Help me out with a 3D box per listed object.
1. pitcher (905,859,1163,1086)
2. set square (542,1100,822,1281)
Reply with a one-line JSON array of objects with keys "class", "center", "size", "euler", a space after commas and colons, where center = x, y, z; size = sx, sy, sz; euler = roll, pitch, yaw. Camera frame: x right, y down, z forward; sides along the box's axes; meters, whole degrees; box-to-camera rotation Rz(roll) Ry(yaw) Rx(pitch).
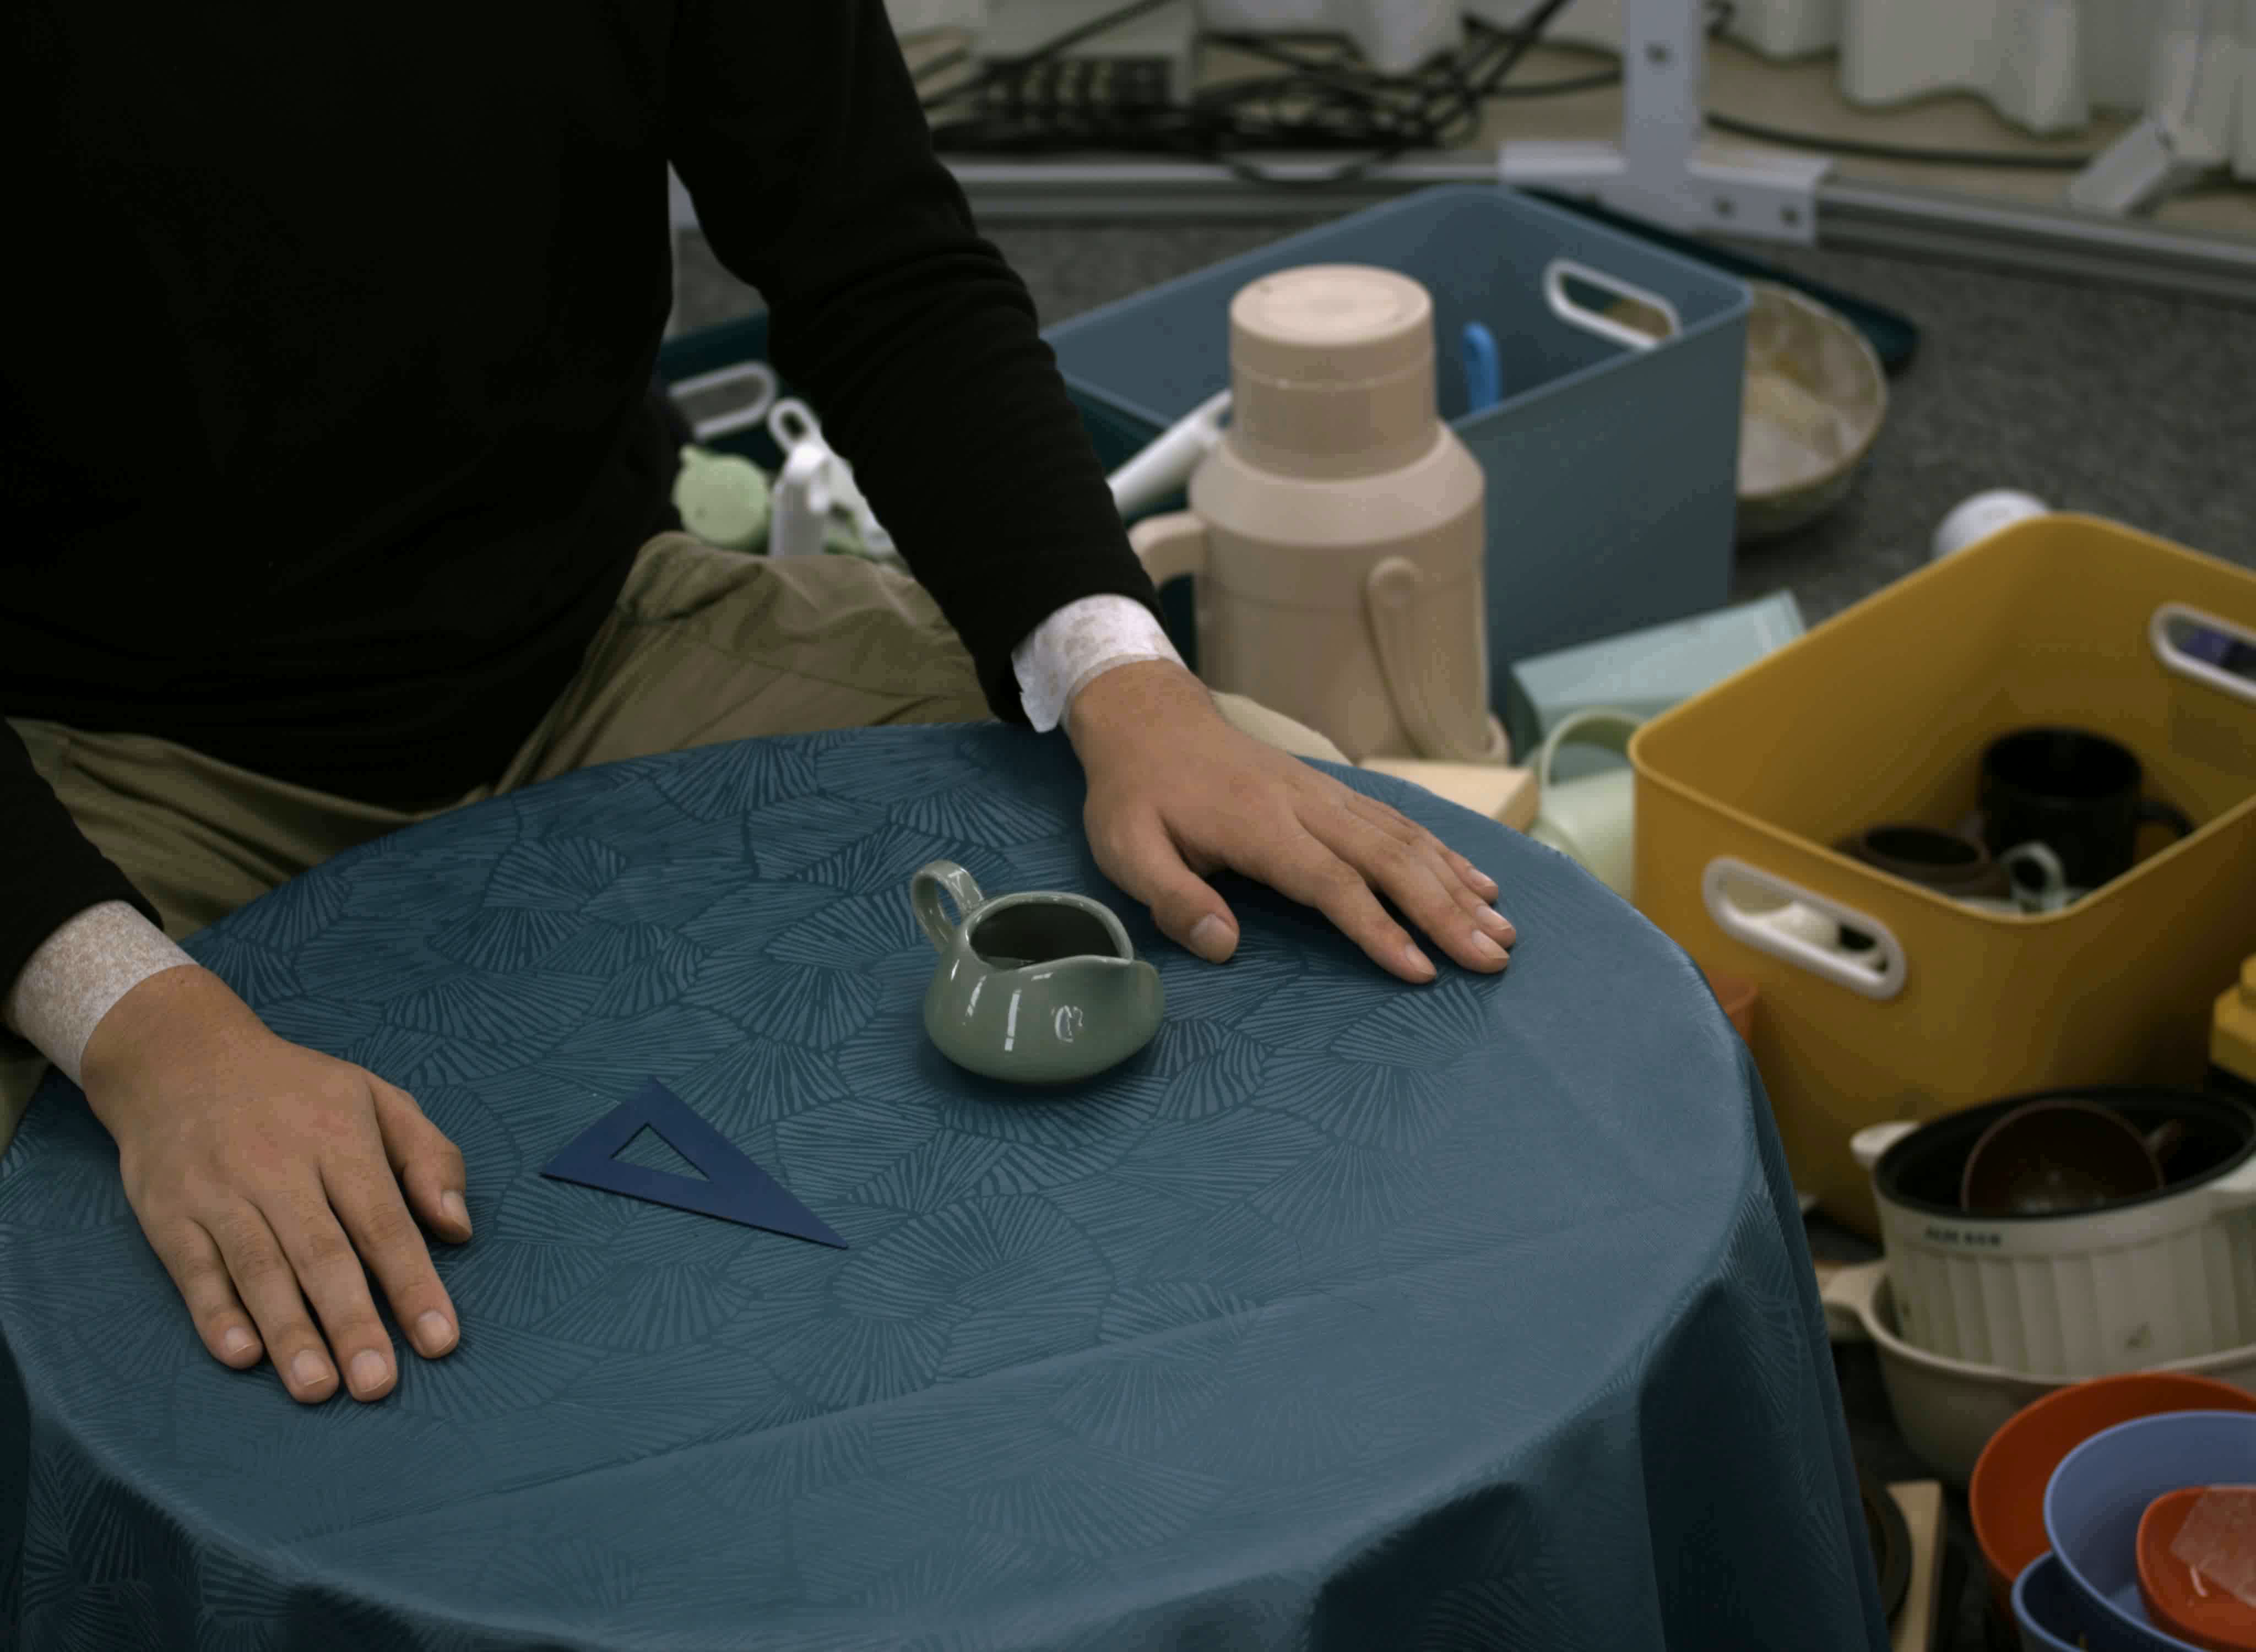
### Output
[{"class": "pitcher", "center": [-0.035, 0.051, 1.941], "size": [0.085, 0.055, 0.112], "euler": [-24, 33, -39]}, {"class": "set square", "center": [-0.153, 0.126, 1.864], "size": [0.061, 0.006, 0.132], "euler": [-15, 30, -25]}]
